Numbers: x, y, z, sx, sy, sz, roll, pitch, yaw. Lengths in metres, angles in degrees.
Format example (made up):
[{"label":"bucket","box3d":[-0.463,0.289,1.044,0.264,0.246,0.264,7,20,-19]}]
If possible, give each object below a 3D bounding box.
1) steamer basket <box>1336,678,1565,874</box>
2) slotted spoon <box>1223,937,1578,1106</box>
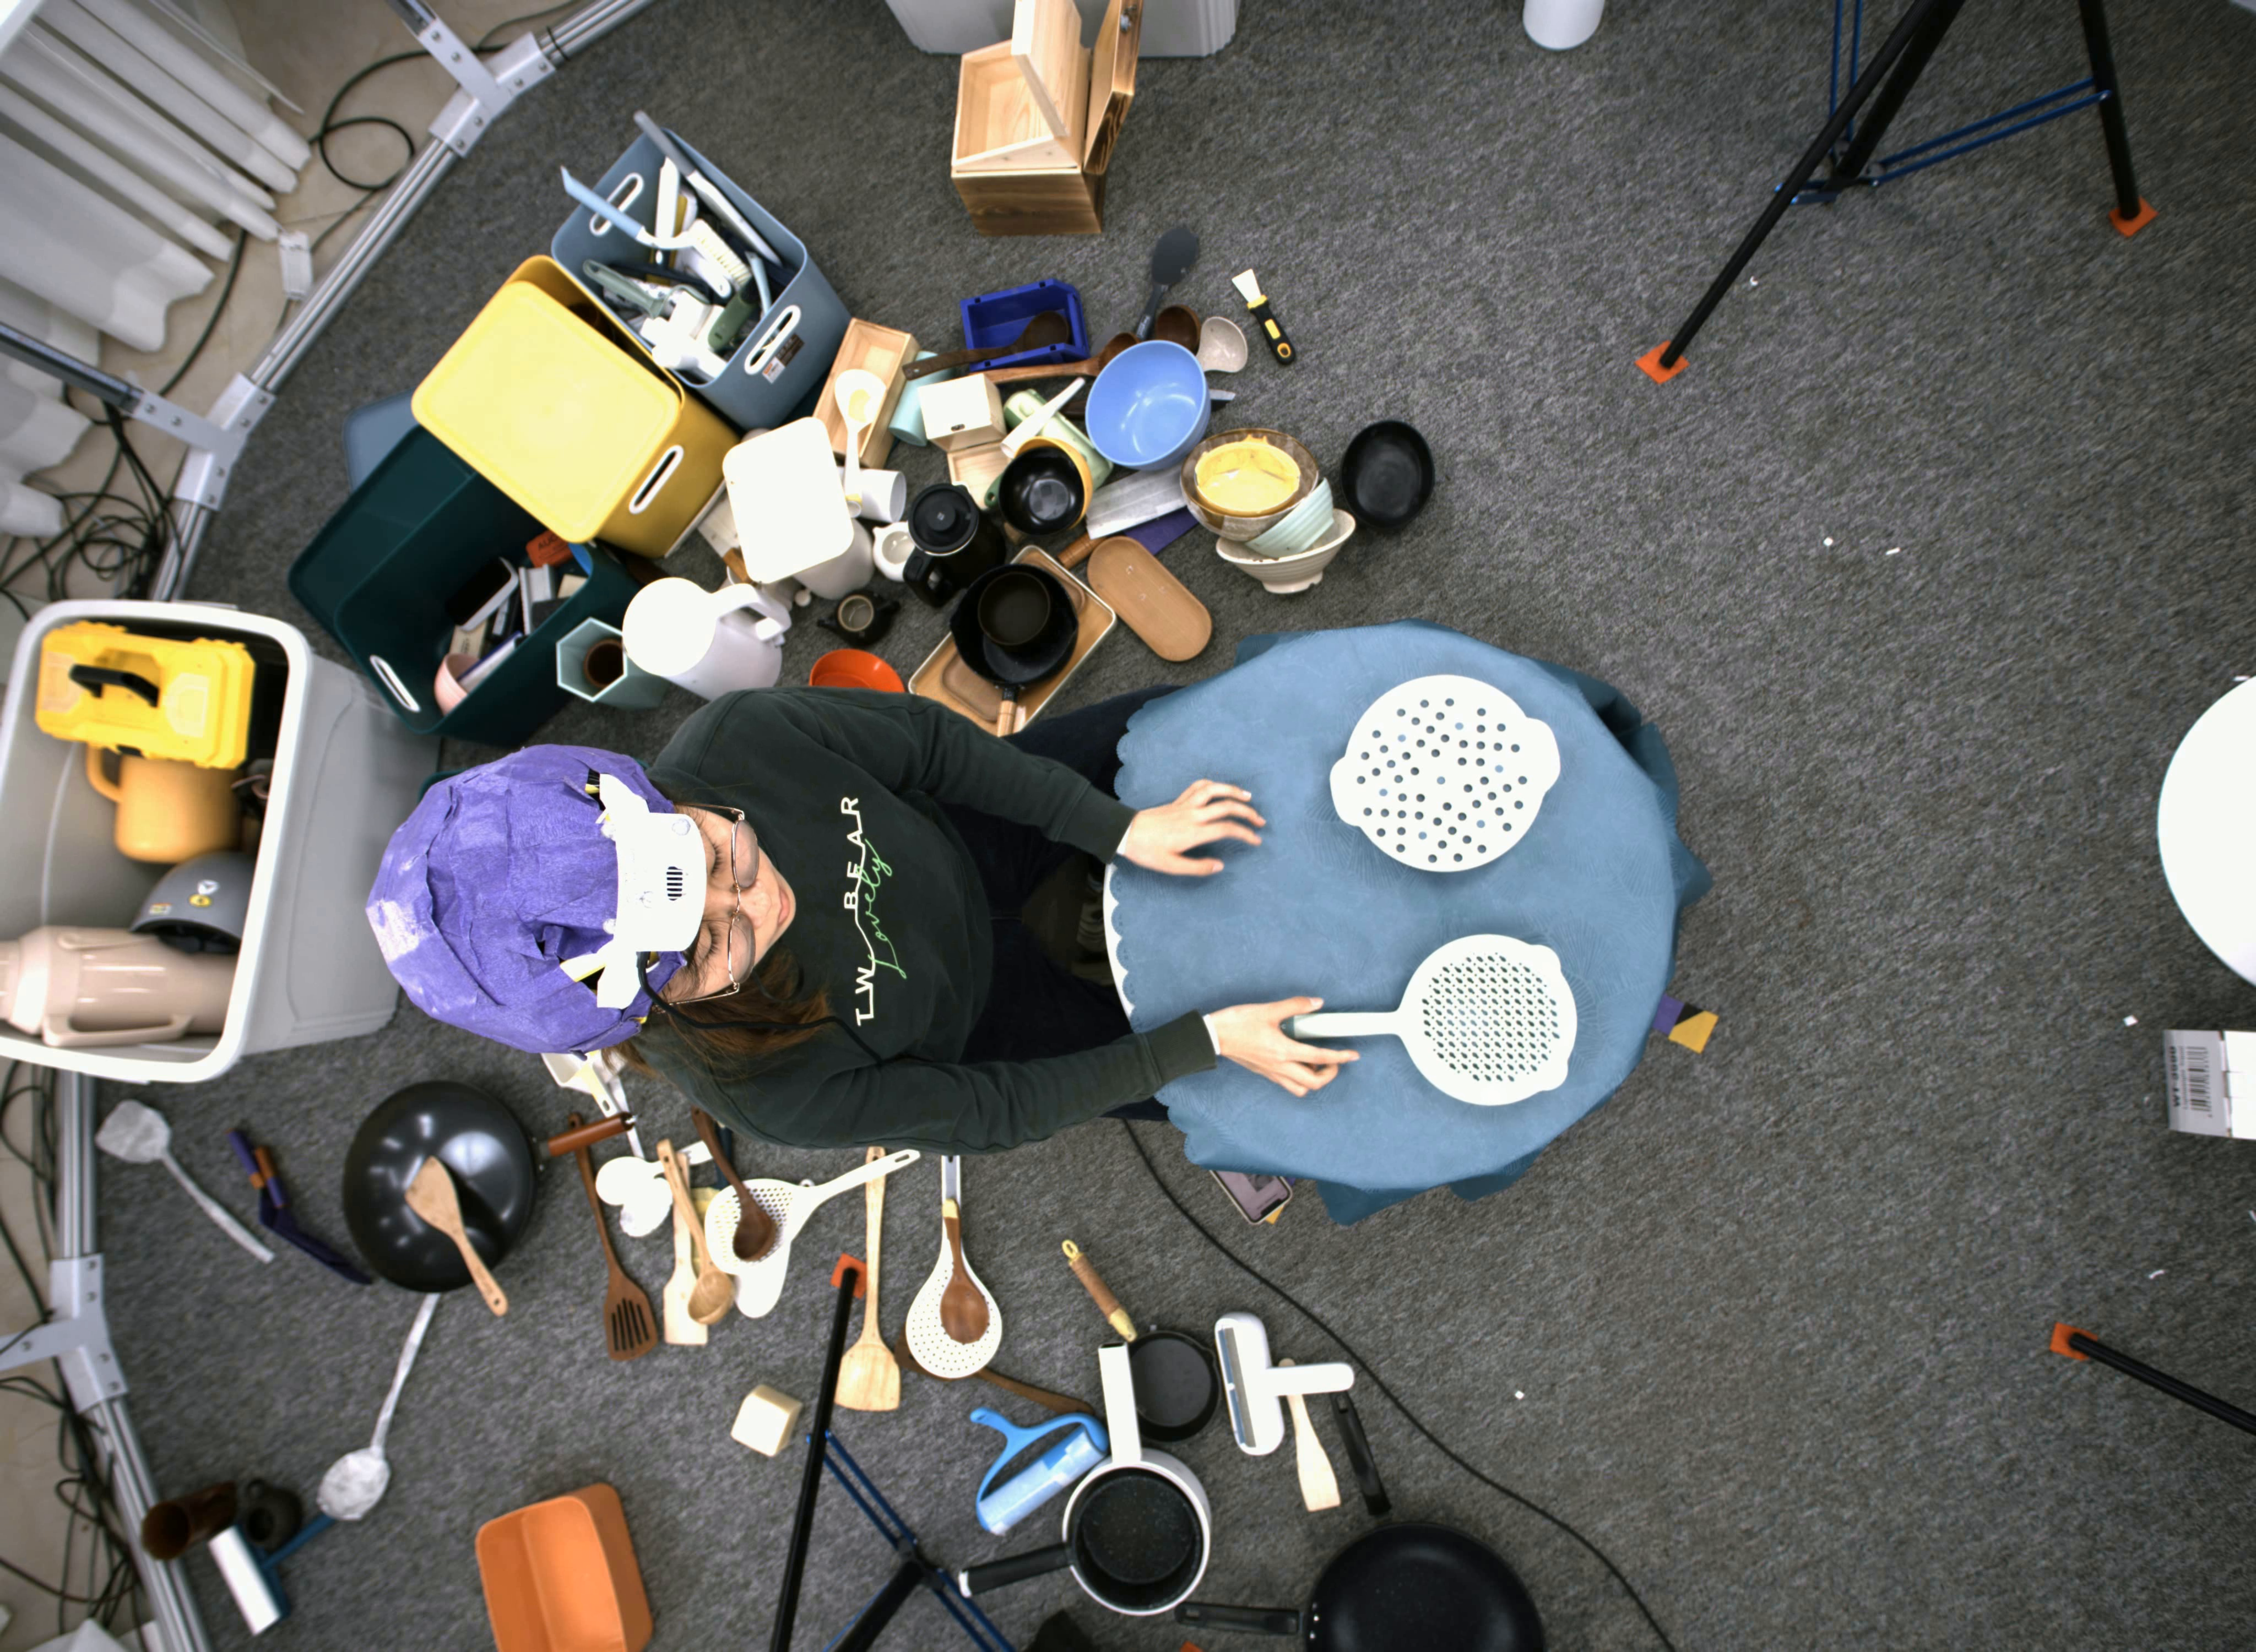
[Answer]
[{"label":"steamer basket","box3d":[0.333,-0.051,1.429,0.232,0.069,0.200,-13,83,9]},{"label":"slotted spoon","box3d":[0.273,0.202,1.423,0.360,0.075,0.168,-3,84,10]}]
